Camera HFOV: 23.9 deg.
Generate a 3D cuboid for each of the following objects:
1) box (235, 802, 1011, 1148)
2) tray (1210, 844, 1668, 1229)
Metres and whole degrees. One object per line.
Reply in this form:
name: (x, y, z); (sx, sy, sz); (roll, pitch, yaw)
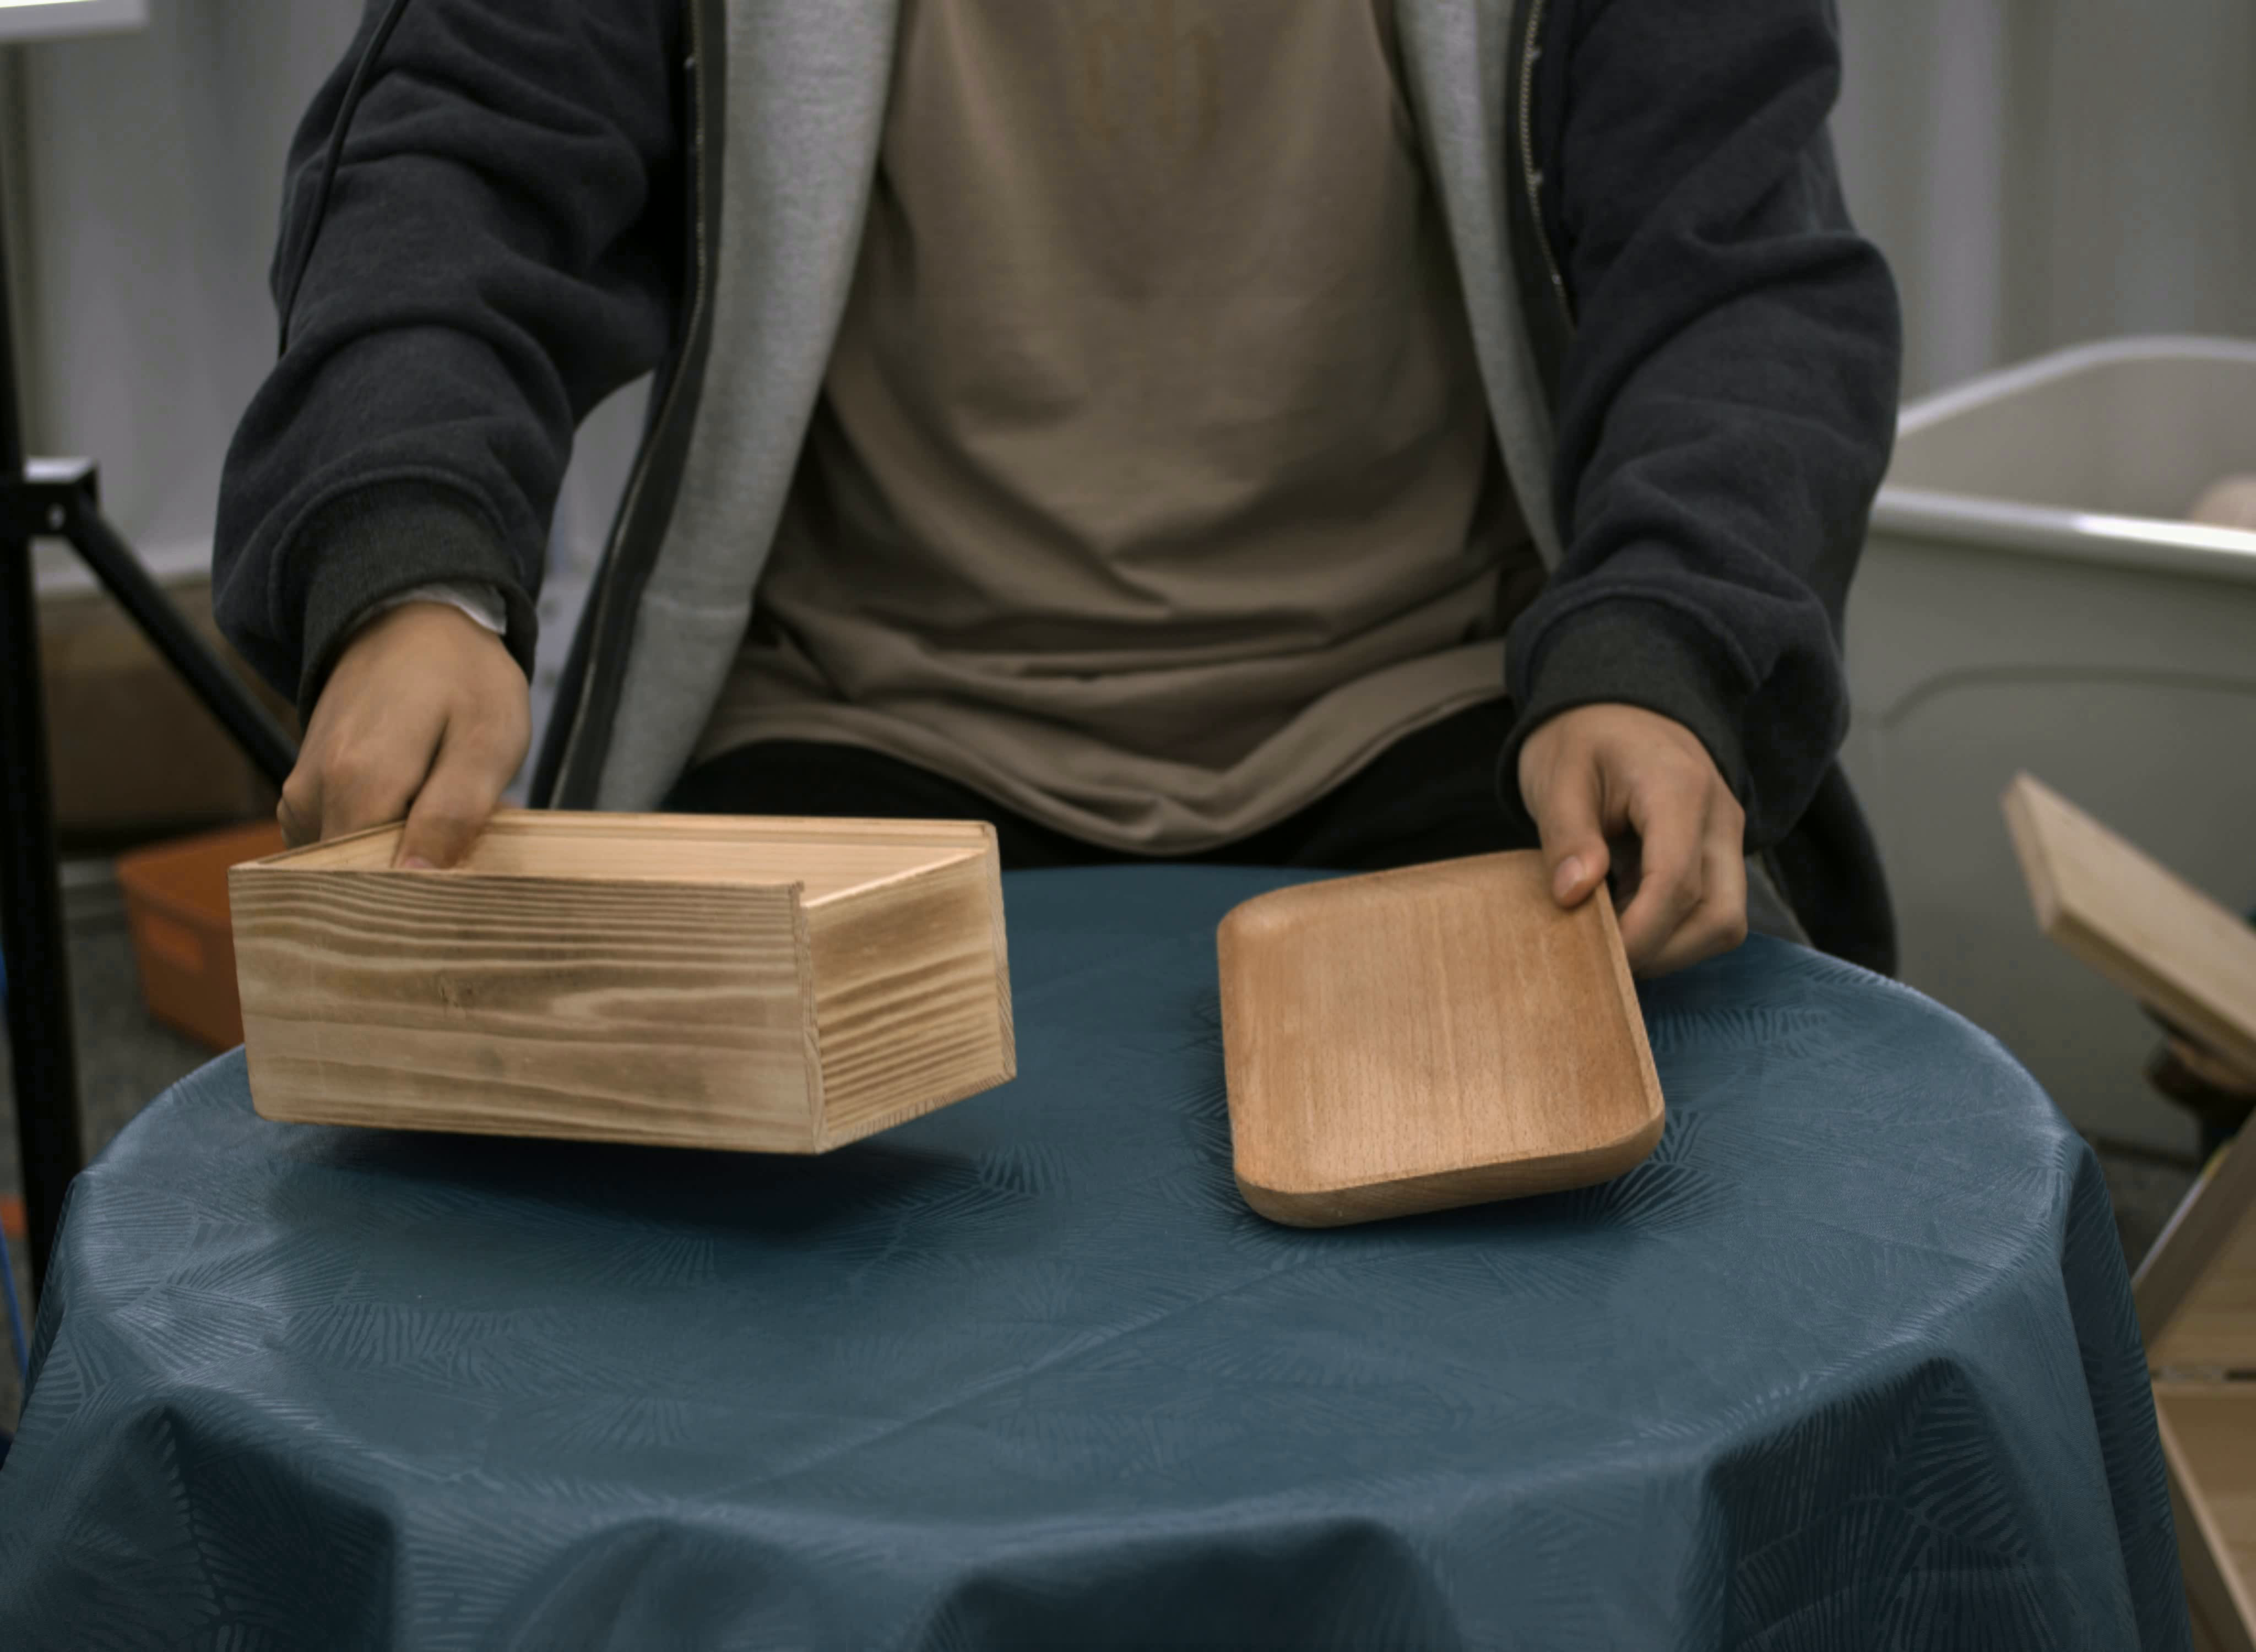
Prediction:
box: (-0.153, 0.042, 1.606); (0.215, 0.080, 0.105); (1, 10, 34)
tray: (0.092, 0.062, 1.625); (0.130, 0.023, 0.252); (-7, 19, 3)
